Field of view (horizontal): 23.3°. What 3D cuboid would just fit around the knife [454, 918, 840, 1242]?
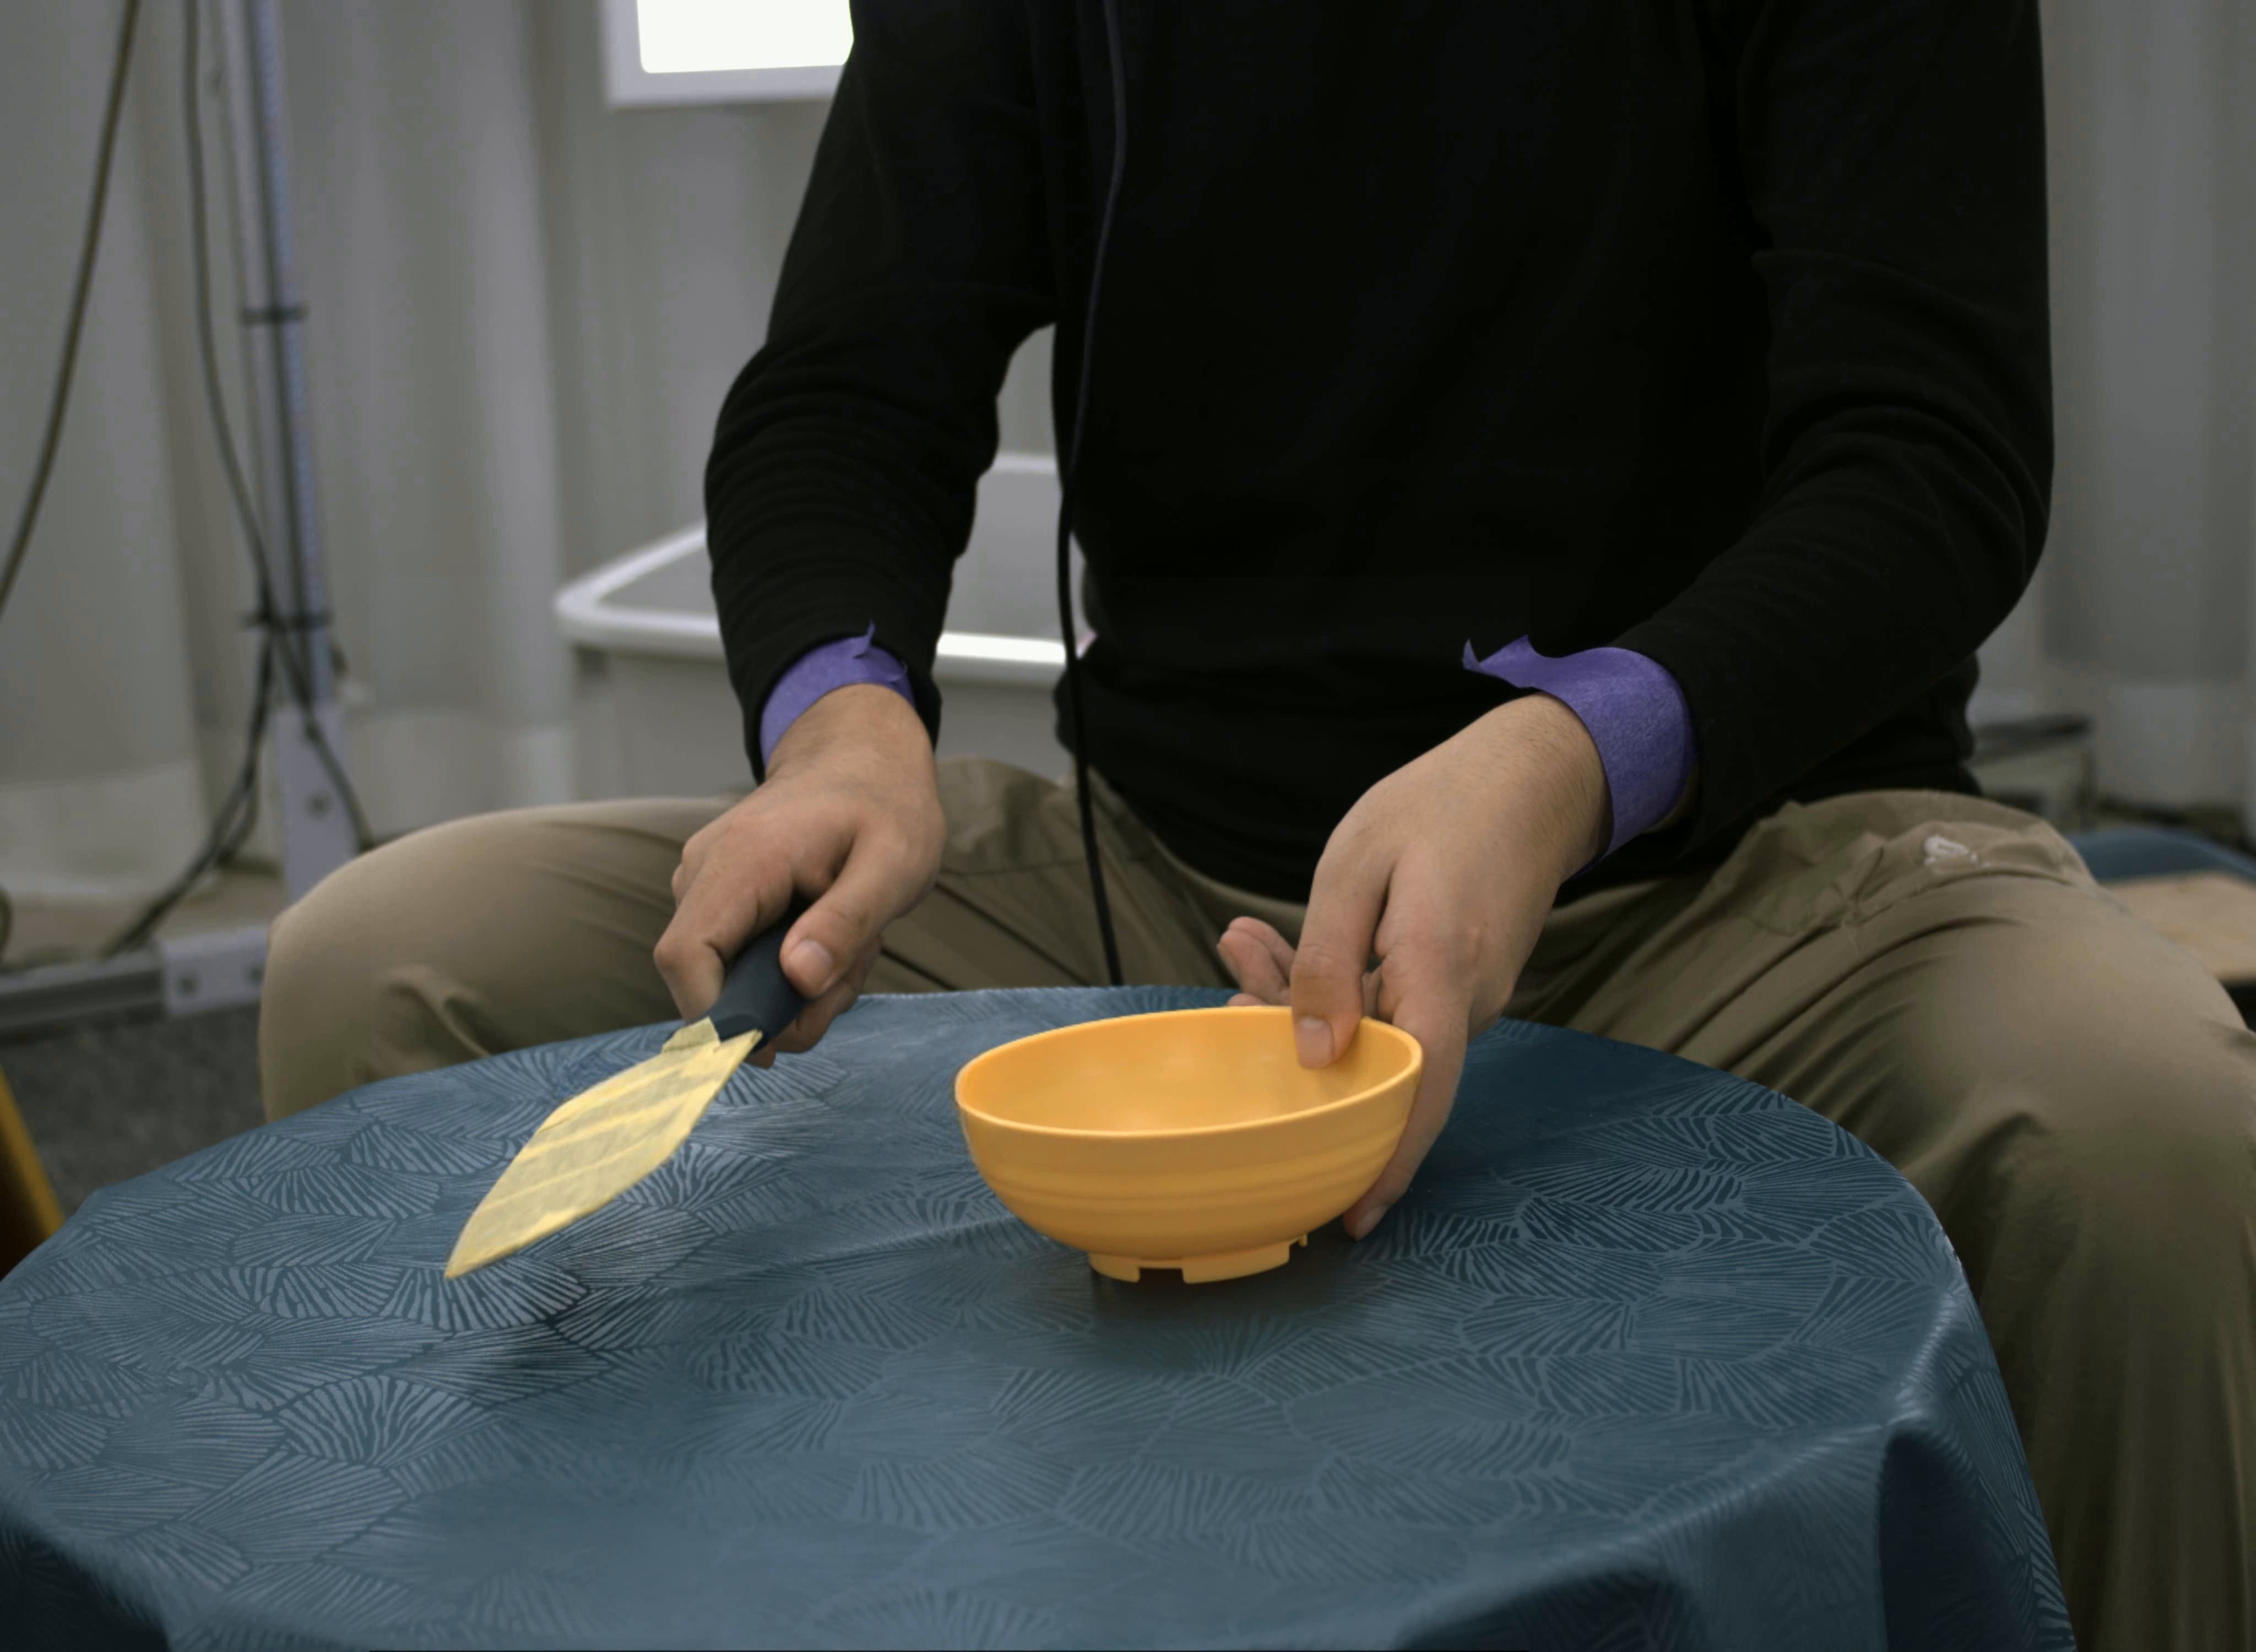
[{"bbox_3d":[-0.145,0.079,1.695,0.081,0.027,0.291,-18,10,18],"label":"knife"}]

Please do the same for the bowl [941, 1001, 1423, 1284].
[{"bbox_3d":[0.017,0.100,1.646,0.145,0.060,0.146,-3,13,0],"label":"bowl"}]
